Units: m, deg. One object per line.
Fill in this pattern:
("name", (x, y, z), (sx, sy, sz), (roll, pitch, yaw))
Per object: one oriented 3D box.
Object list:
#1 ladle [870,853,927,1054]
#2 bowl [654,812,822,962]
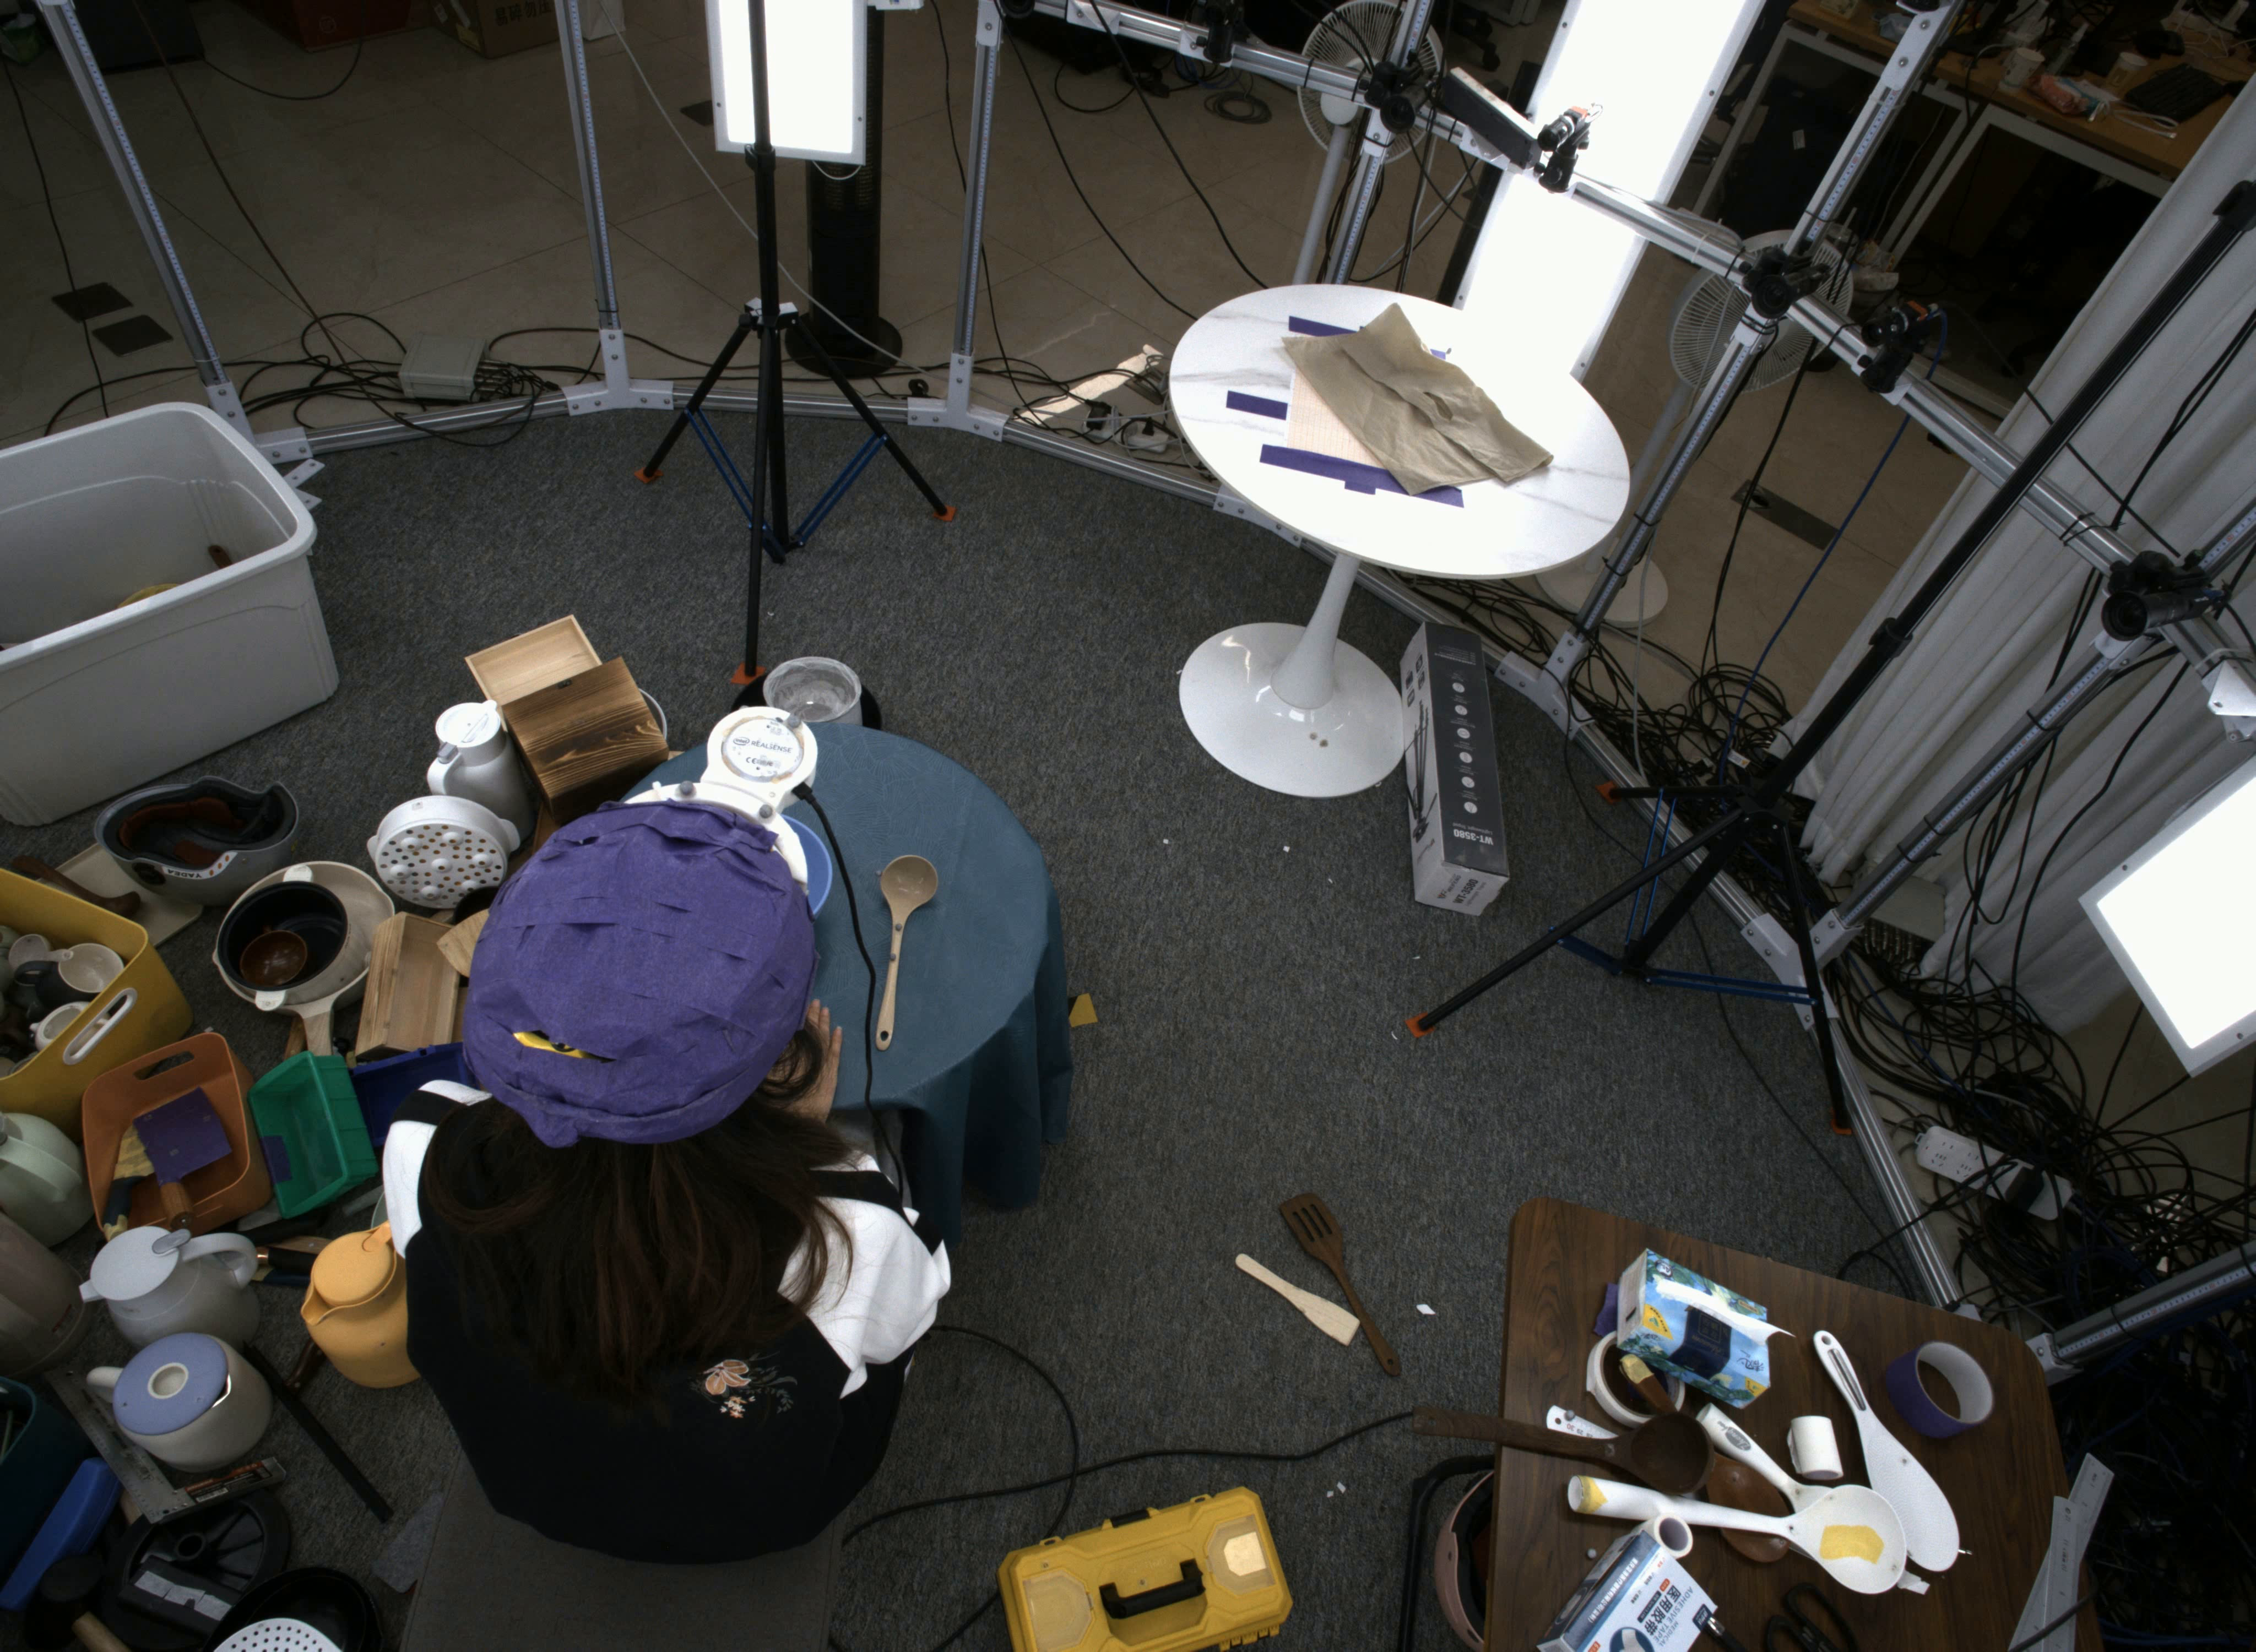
("ladle", (-0.288, 0.147, 1.598), (0.073, 0.073, 0.249), (12, 52, -19))
("bowl", (-0.474, 0.088, 1.583), (0.196, 0.097, 0.193), (9, 52, -10))
